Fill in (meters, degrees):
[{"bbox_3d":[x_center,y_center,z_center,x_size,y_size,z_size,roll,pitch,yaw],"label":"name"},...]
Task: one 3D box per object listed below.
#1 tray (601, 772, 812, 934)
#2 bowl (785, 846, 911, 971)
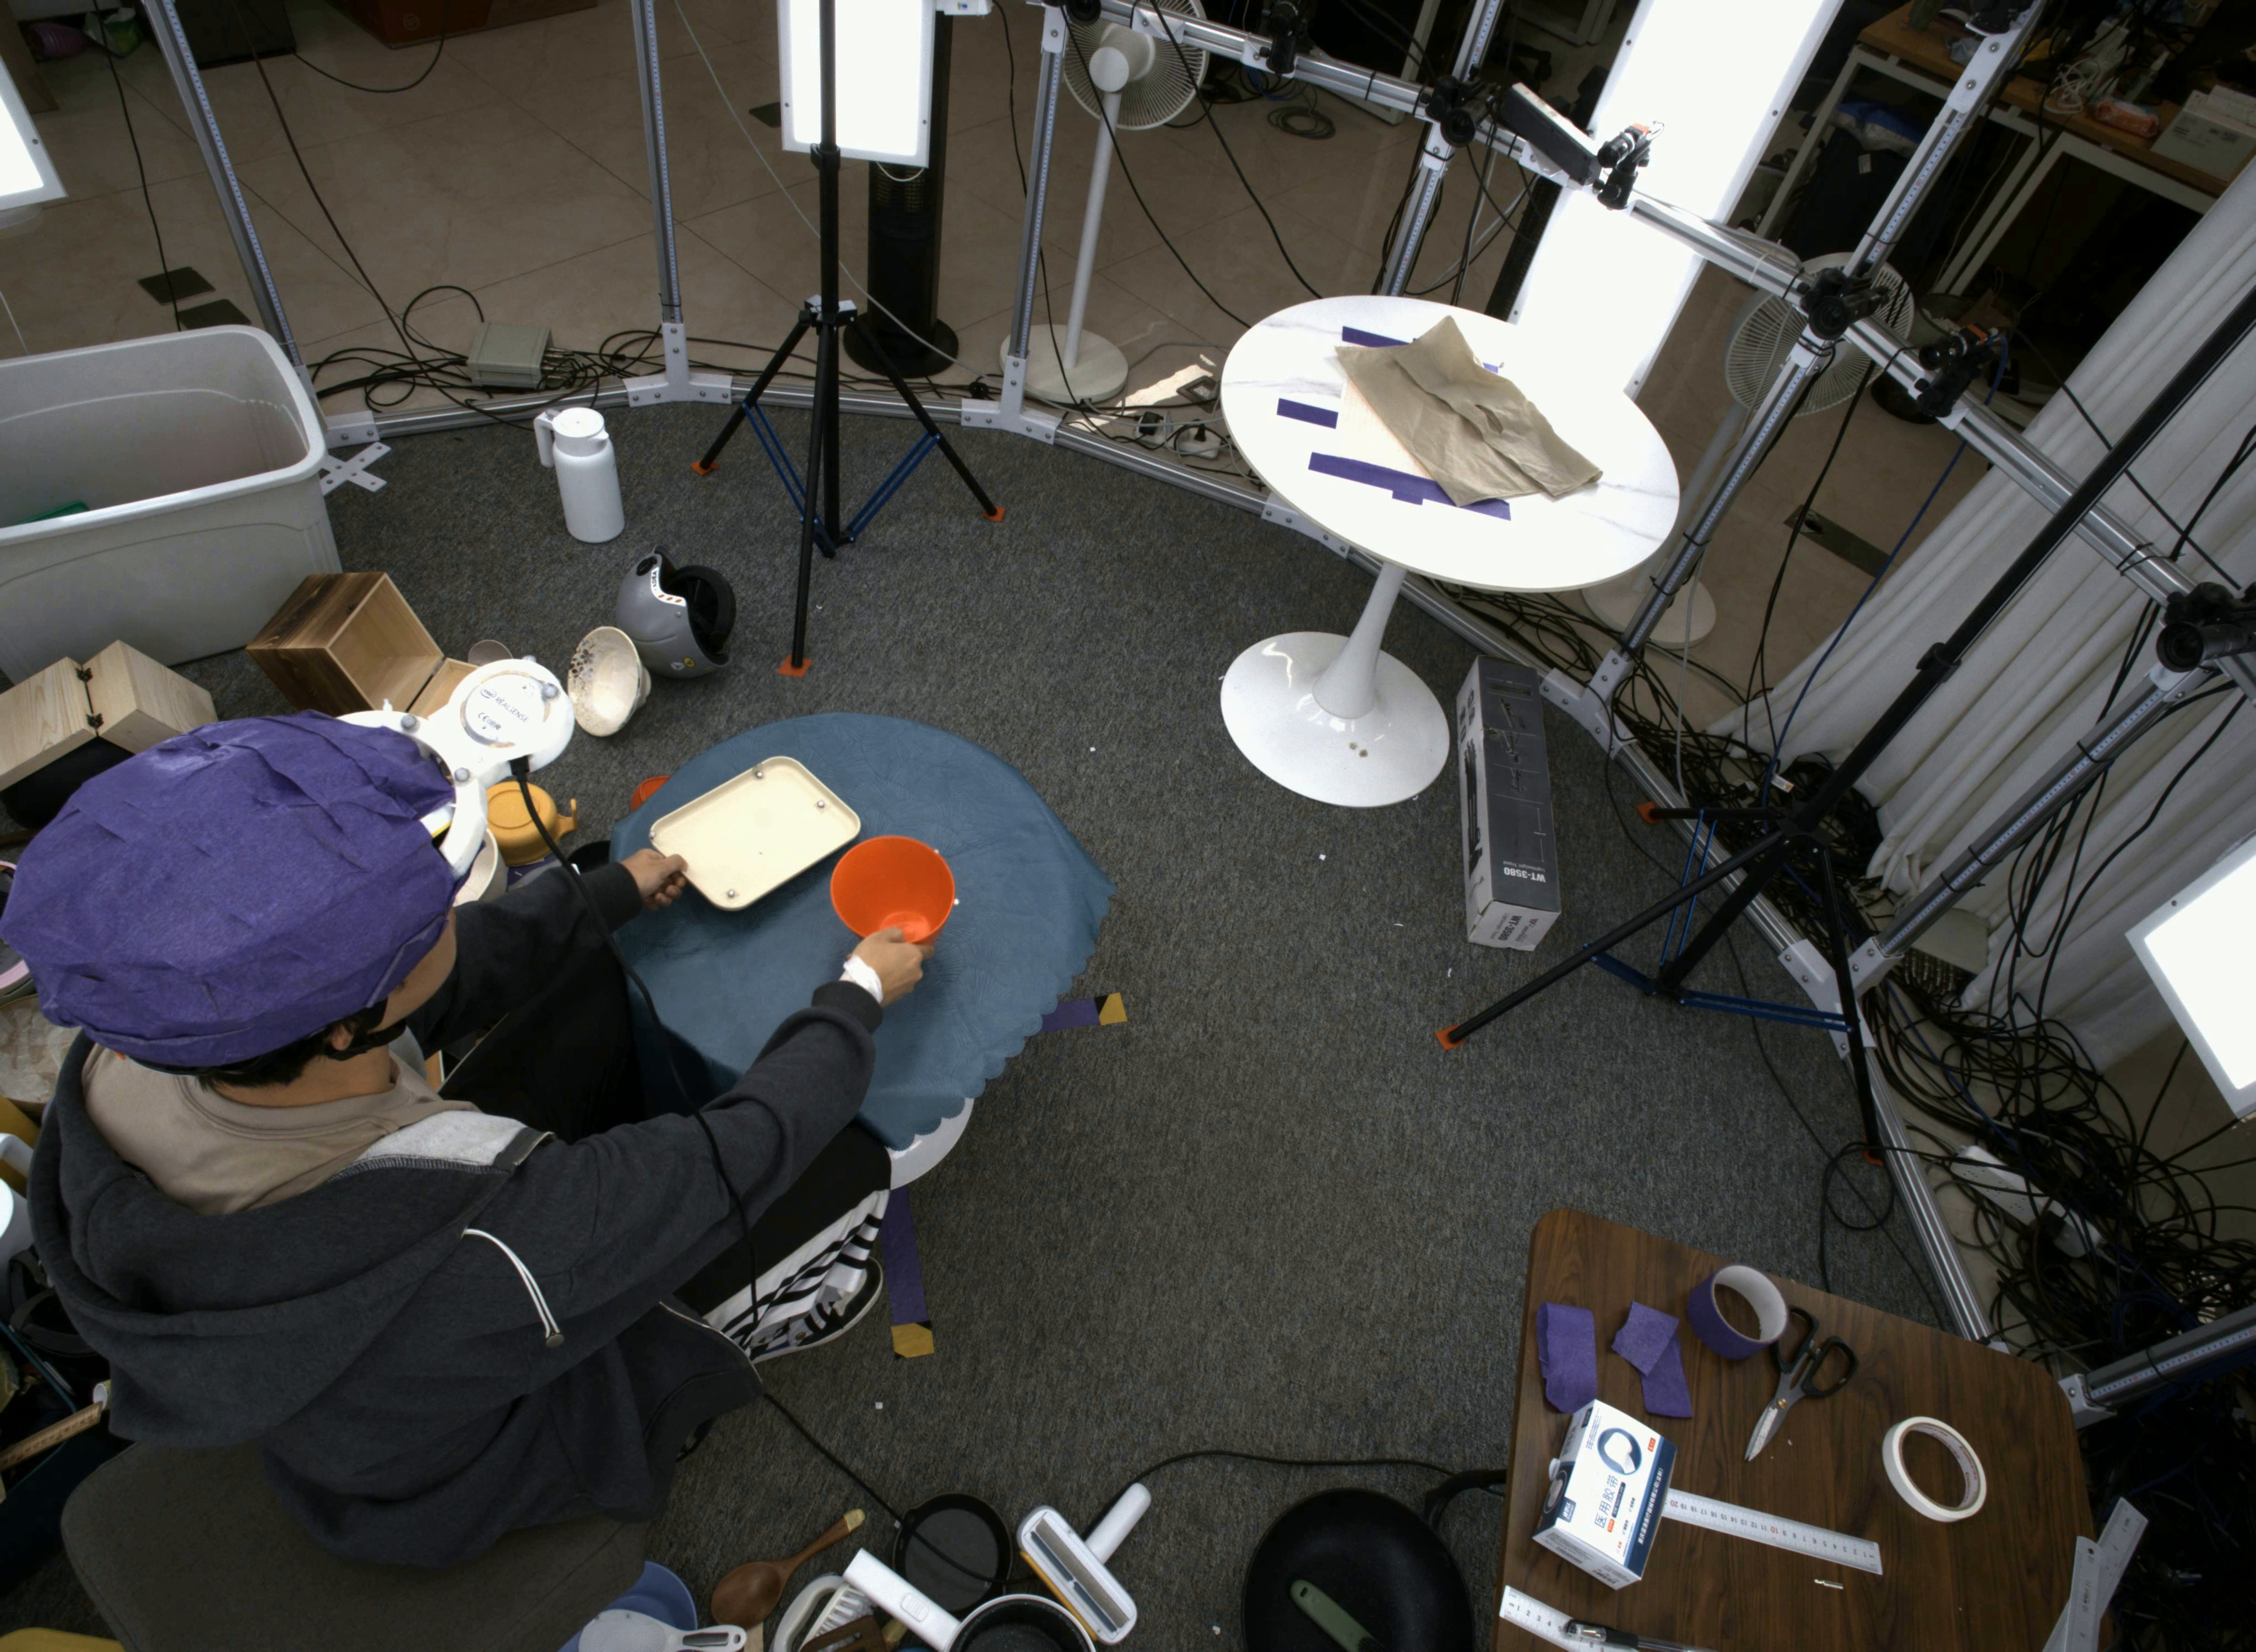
[{"bbox_3d":[-0.533,0.030,1.635,0.168,0.018,0.240,39,47,11],"label":"tray"},{"bbox_3d":[-0.334,0.111,1.575,0.147,0.107,0.145,3,53,-3],"label":"bowl"}]
